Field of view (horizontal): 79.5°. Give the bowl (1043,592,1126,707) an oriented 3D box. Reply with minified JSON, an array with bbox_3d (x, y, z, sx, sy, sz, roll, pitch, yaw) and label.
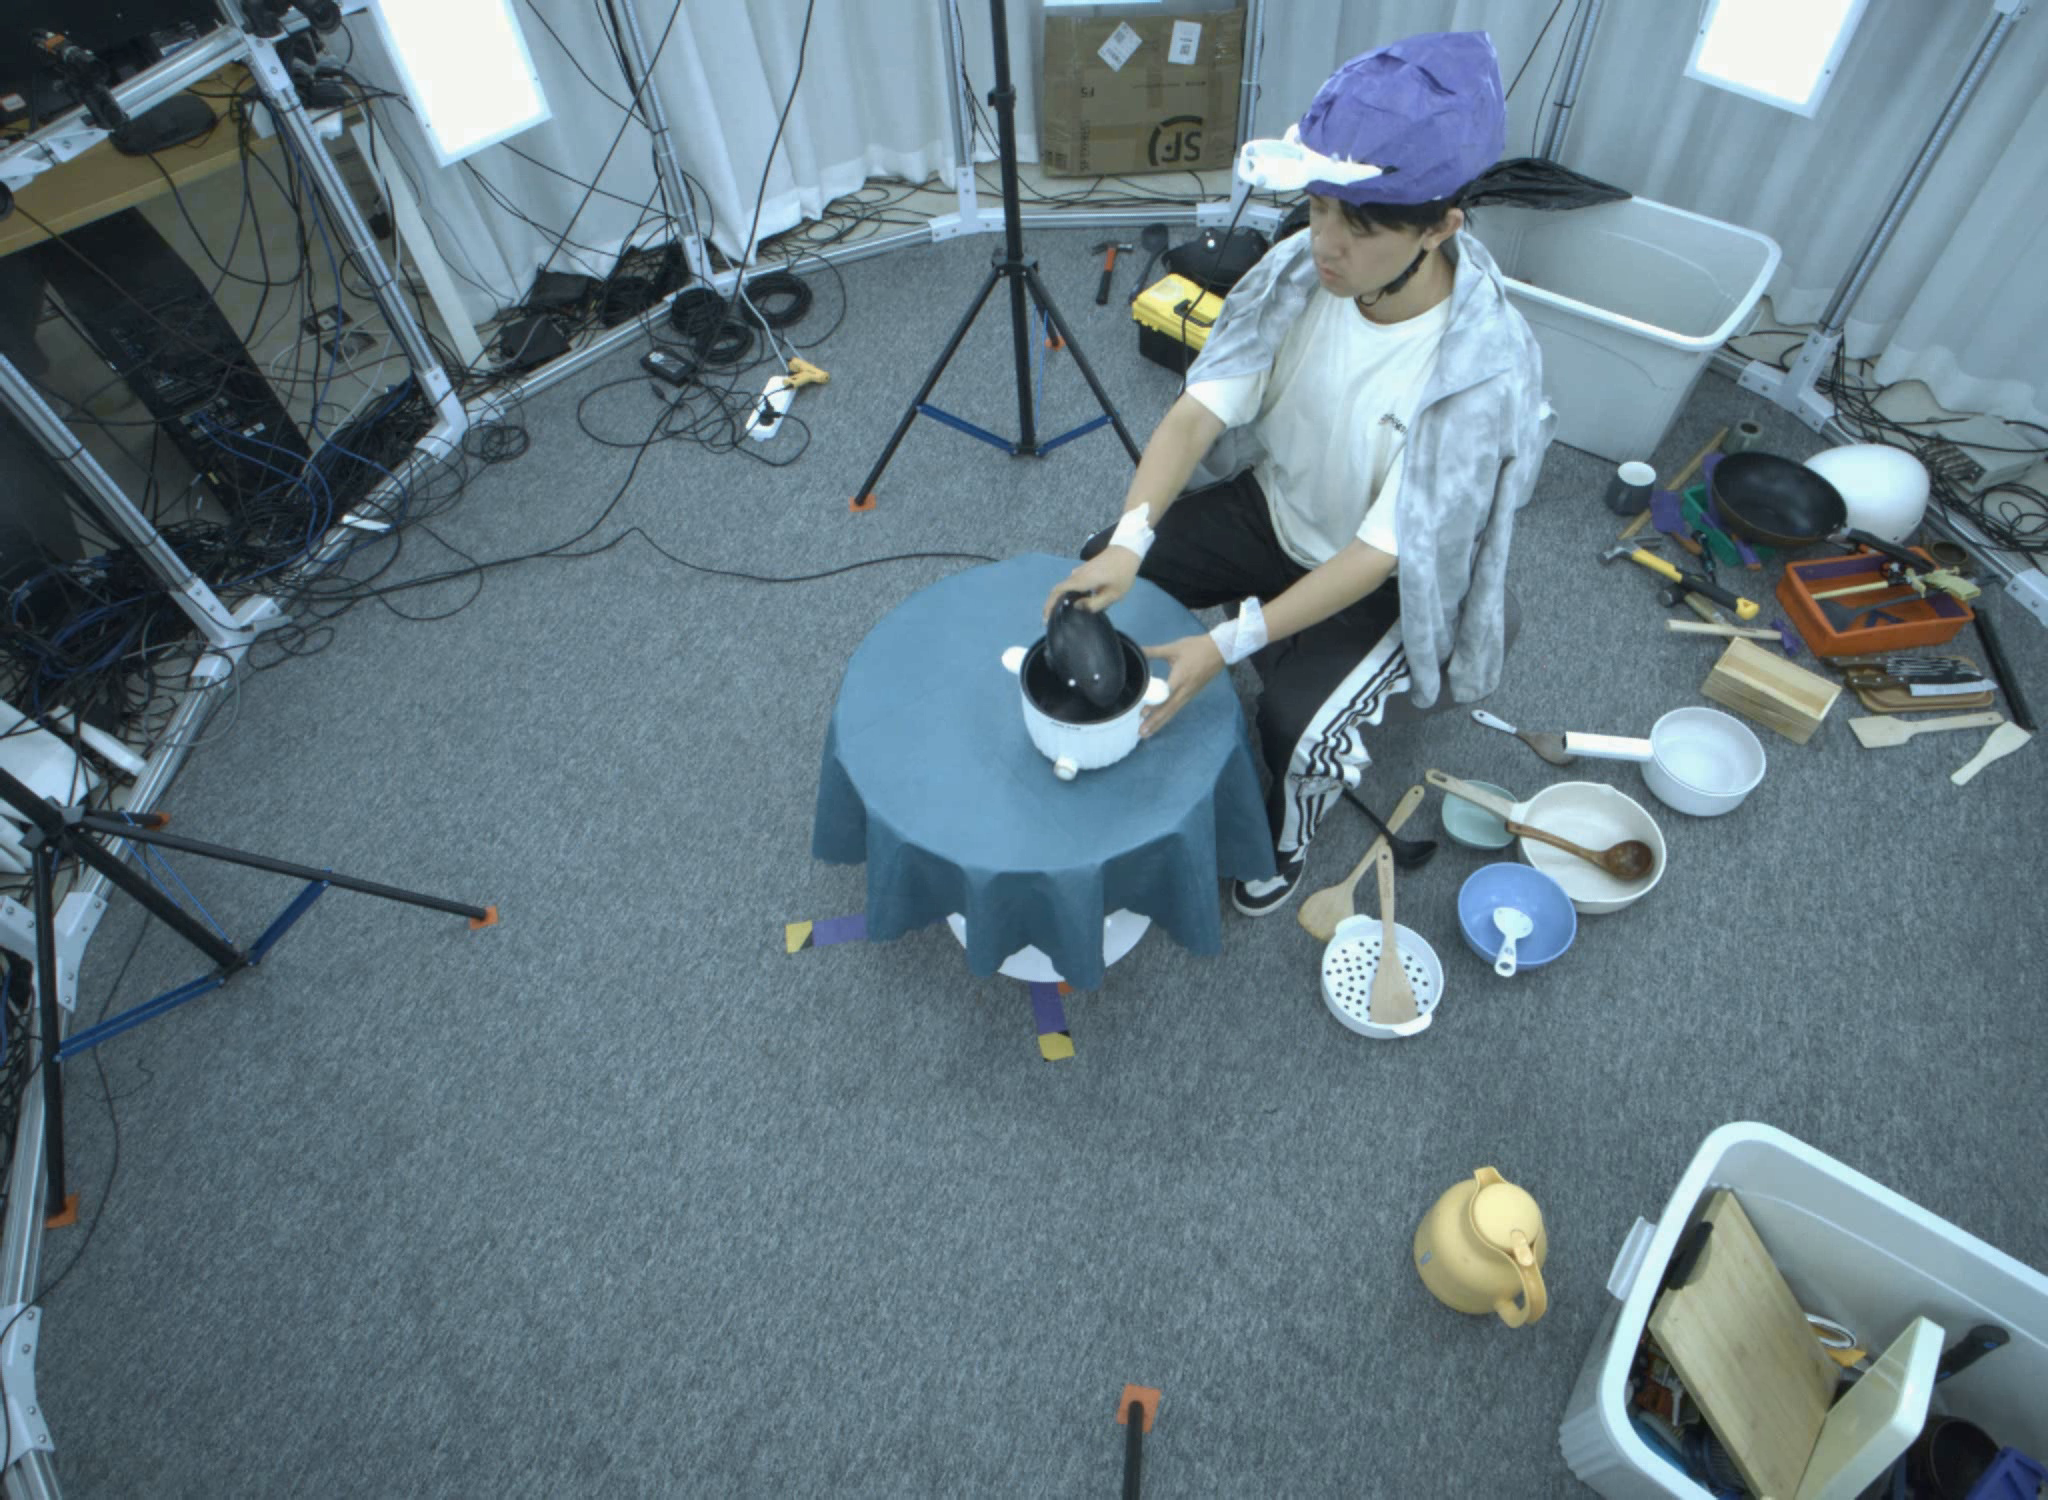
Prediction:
[{"bbox_3d":[0.070,-0.133,1.690,0.065,0.140,0.169,-20,75,37],"label":"bowl"}]

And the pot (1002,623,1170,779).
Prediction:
[{"bbox_3d":[0.086,-0.065,1.747,0.238,0.144,0.190,13,53,12],"label":"pot"}]
